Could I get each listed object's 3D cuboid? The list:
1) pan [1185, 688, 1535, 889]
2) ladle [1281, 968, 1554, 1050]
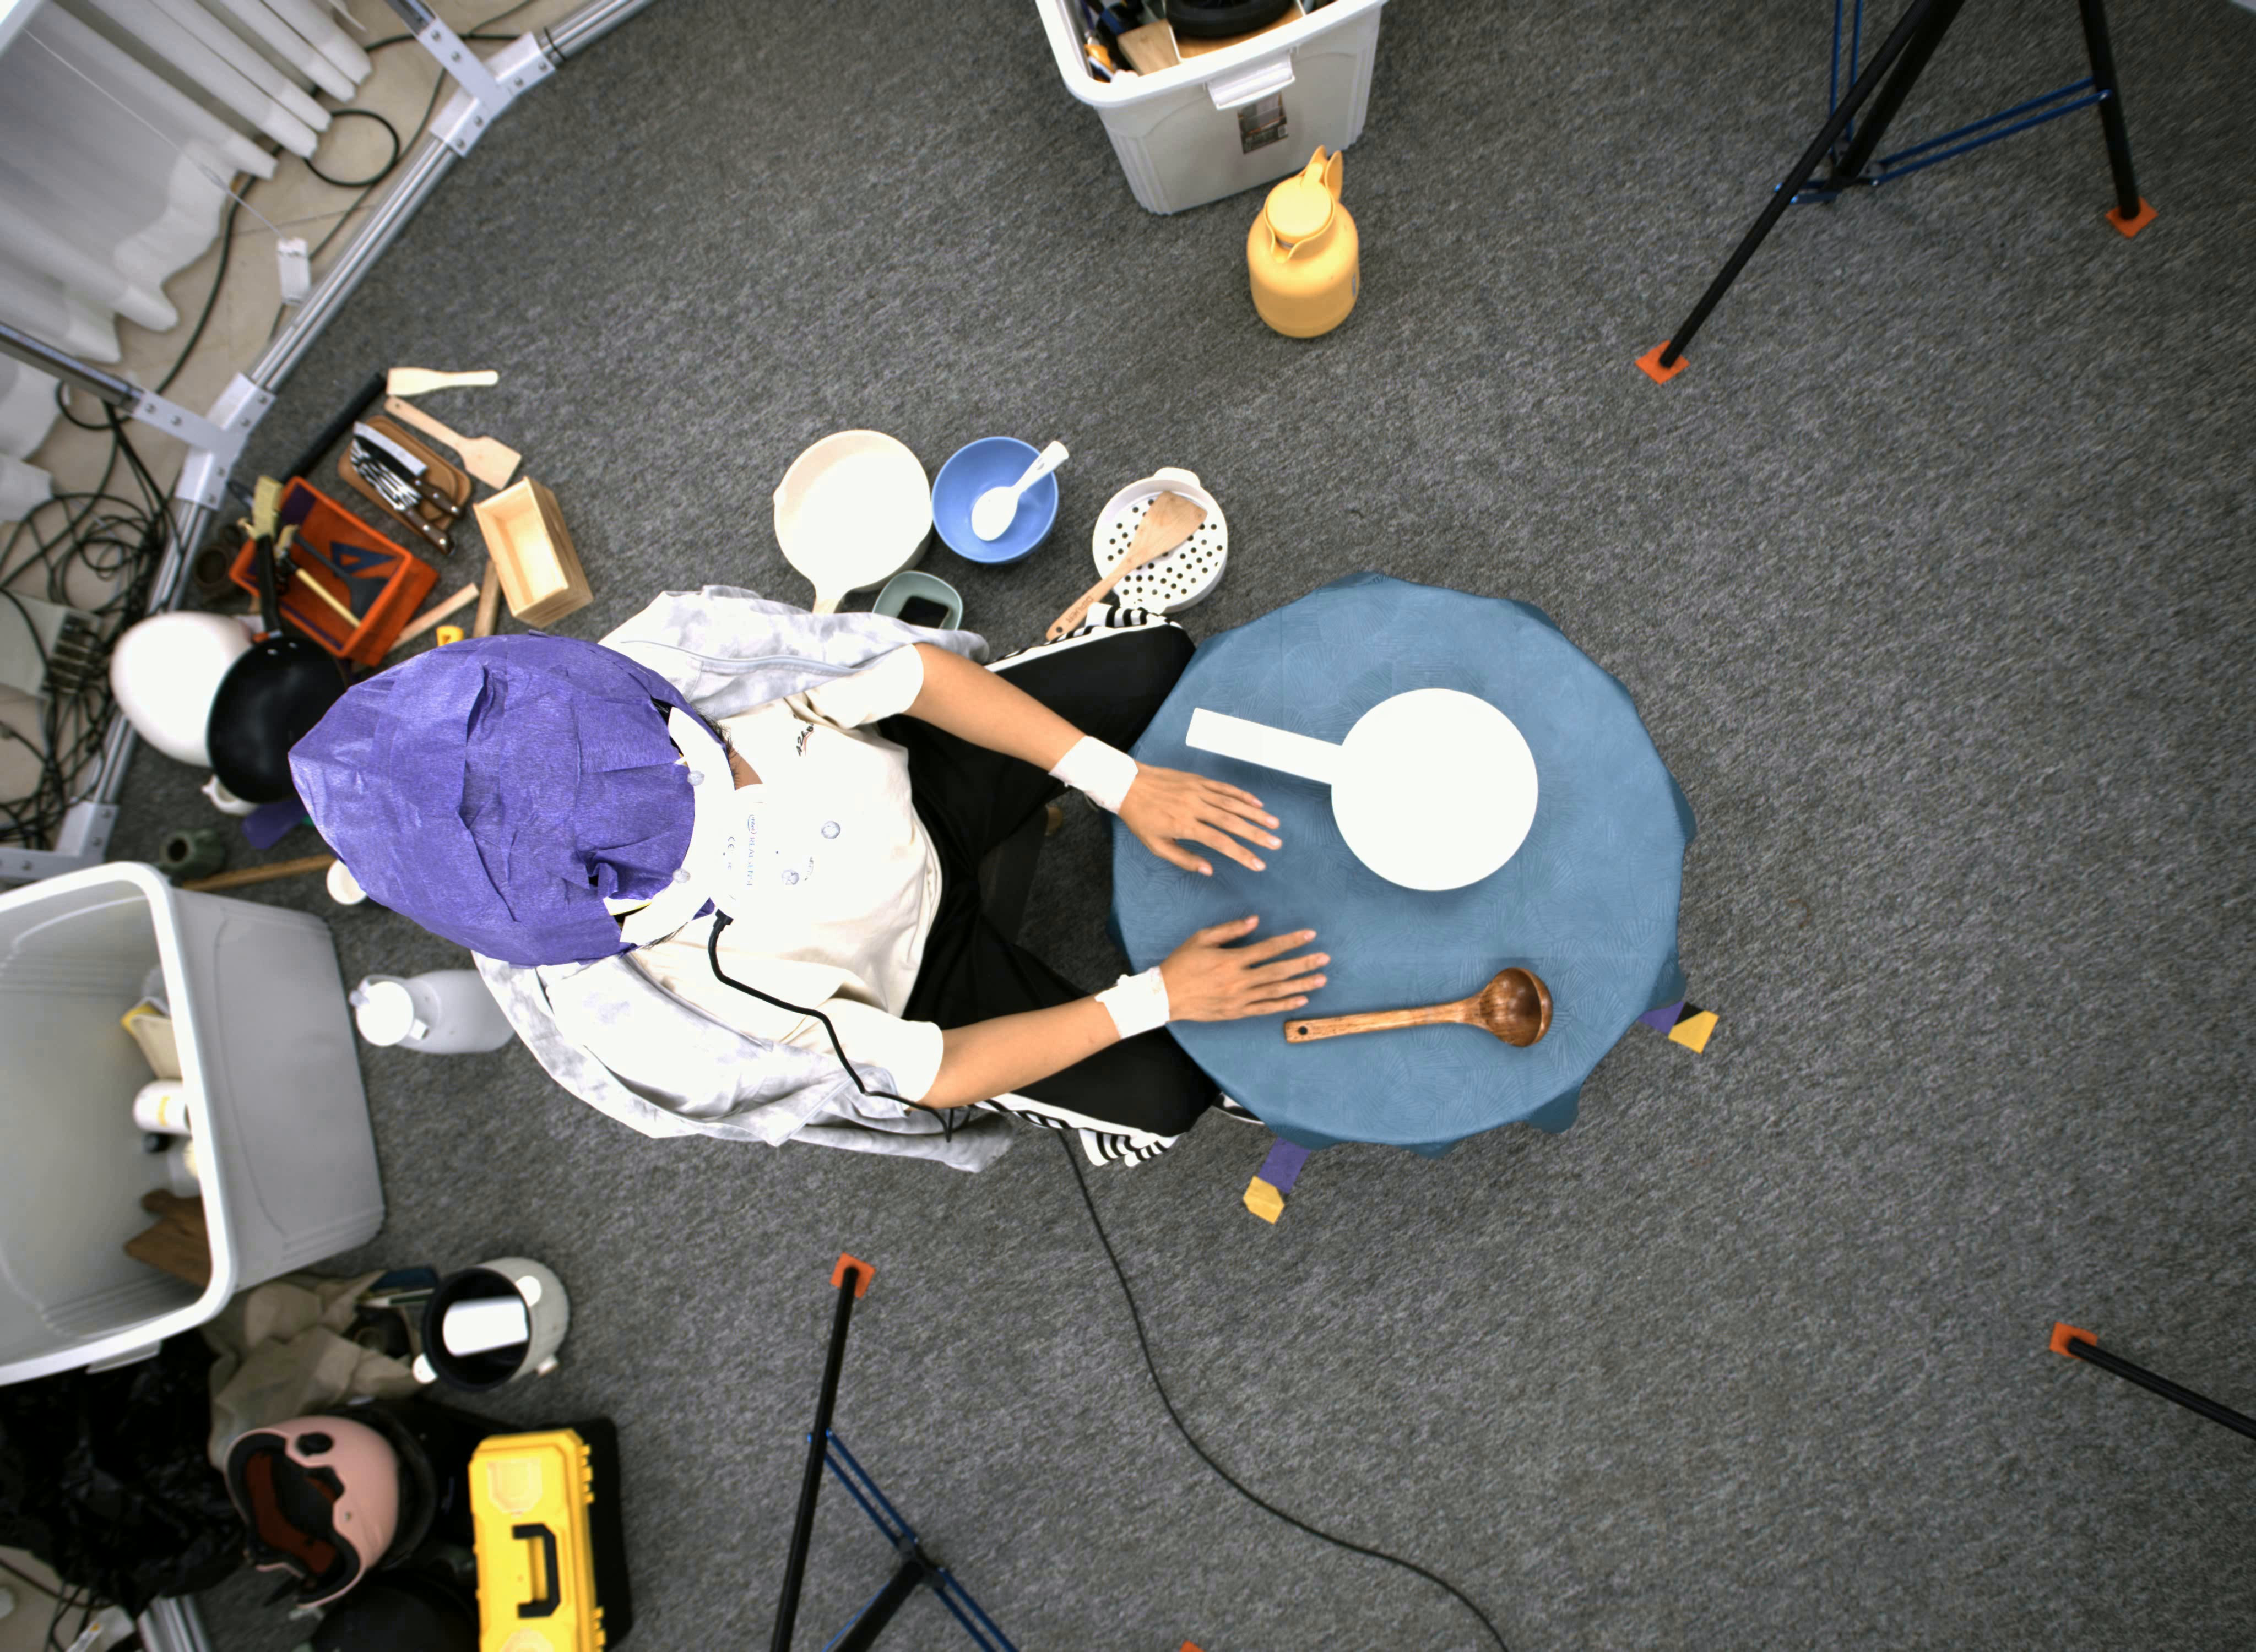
[{"bbox_3d":[0.236,-0.055,1.422,0.355,0.102,0.201,16,90,12],"label":"pan"},{"bbox_3d":[0.291,0.191,1.408,0.275,0.077,0.081,-5,76,10],"label":"ladle"}]
